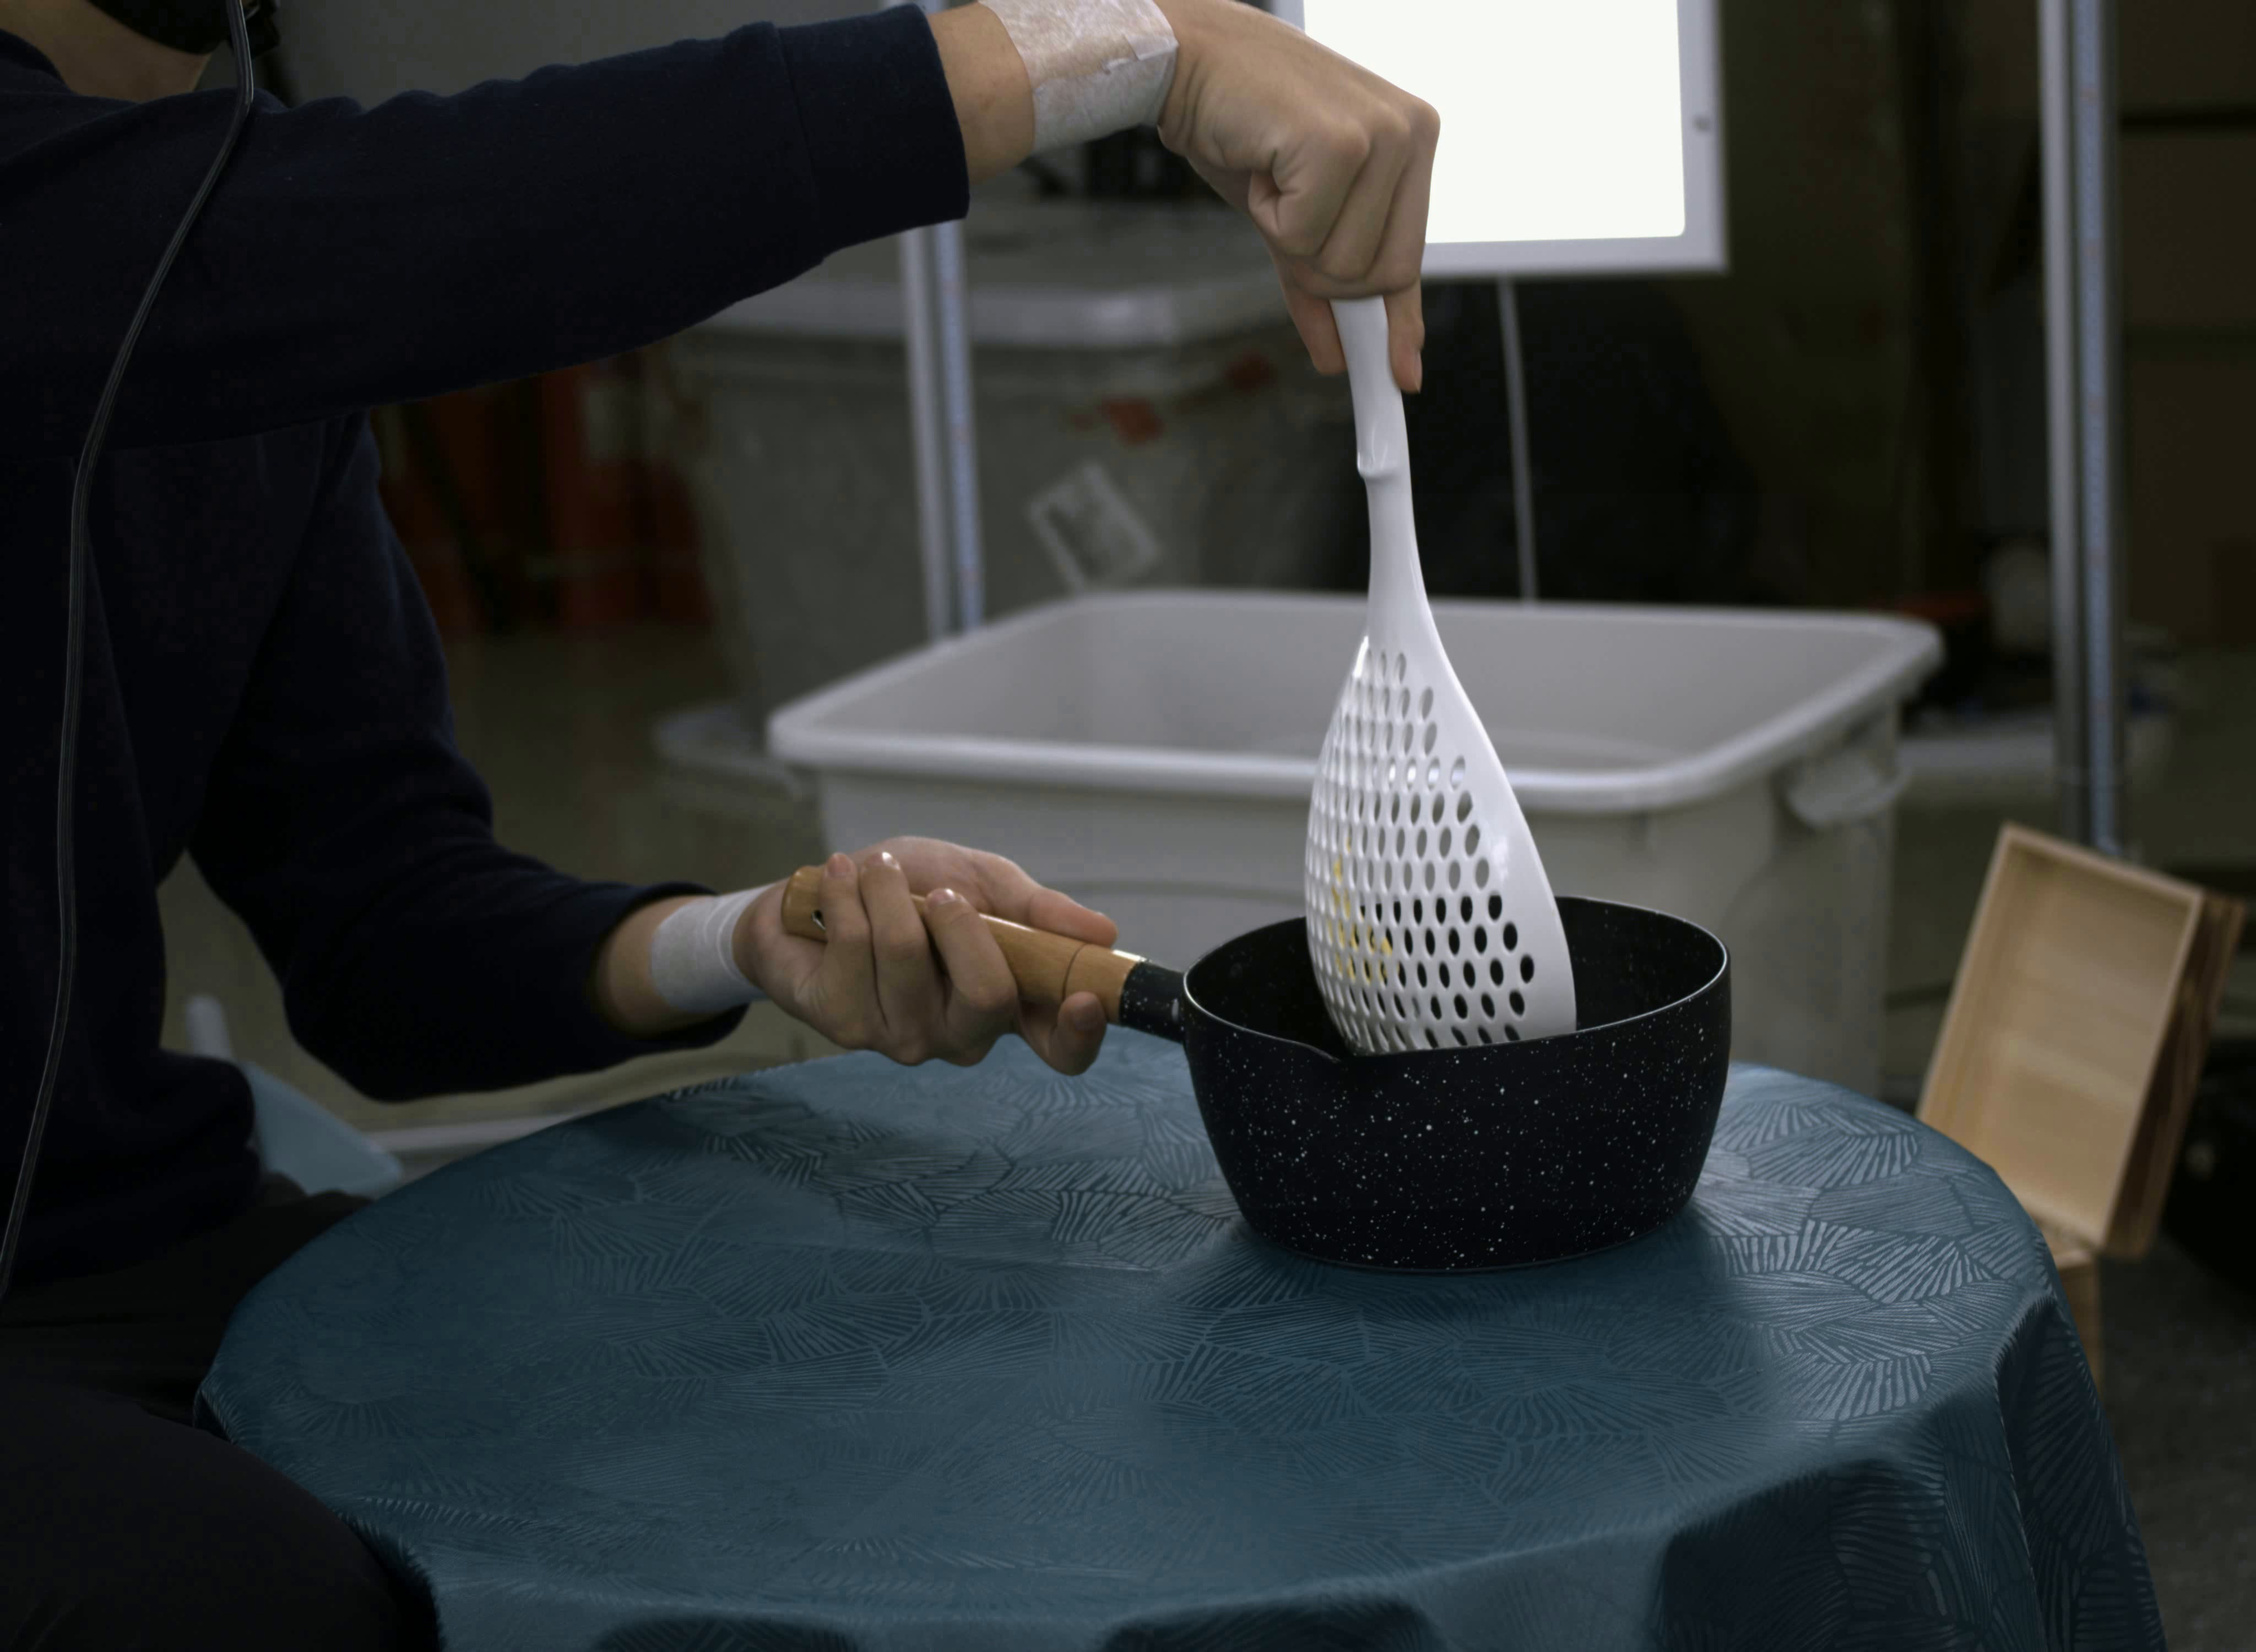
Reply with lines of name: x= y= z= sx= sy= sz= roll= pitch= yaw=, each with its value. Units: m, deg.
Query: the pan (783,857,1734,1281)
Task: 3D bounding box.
pan: x=0.038 y=0.073 z=1.871 sx=0.348 sy=0.108 sz=0.203 roll=3 pitch=17 yaw=24

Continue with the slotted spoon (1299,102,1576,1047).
slotted spoon: x=0.084 y=-0.068 z=1.819 sx=0.049 sy=0.349 sz=0.139 roll=-12 pitch=16 yaw=-33
